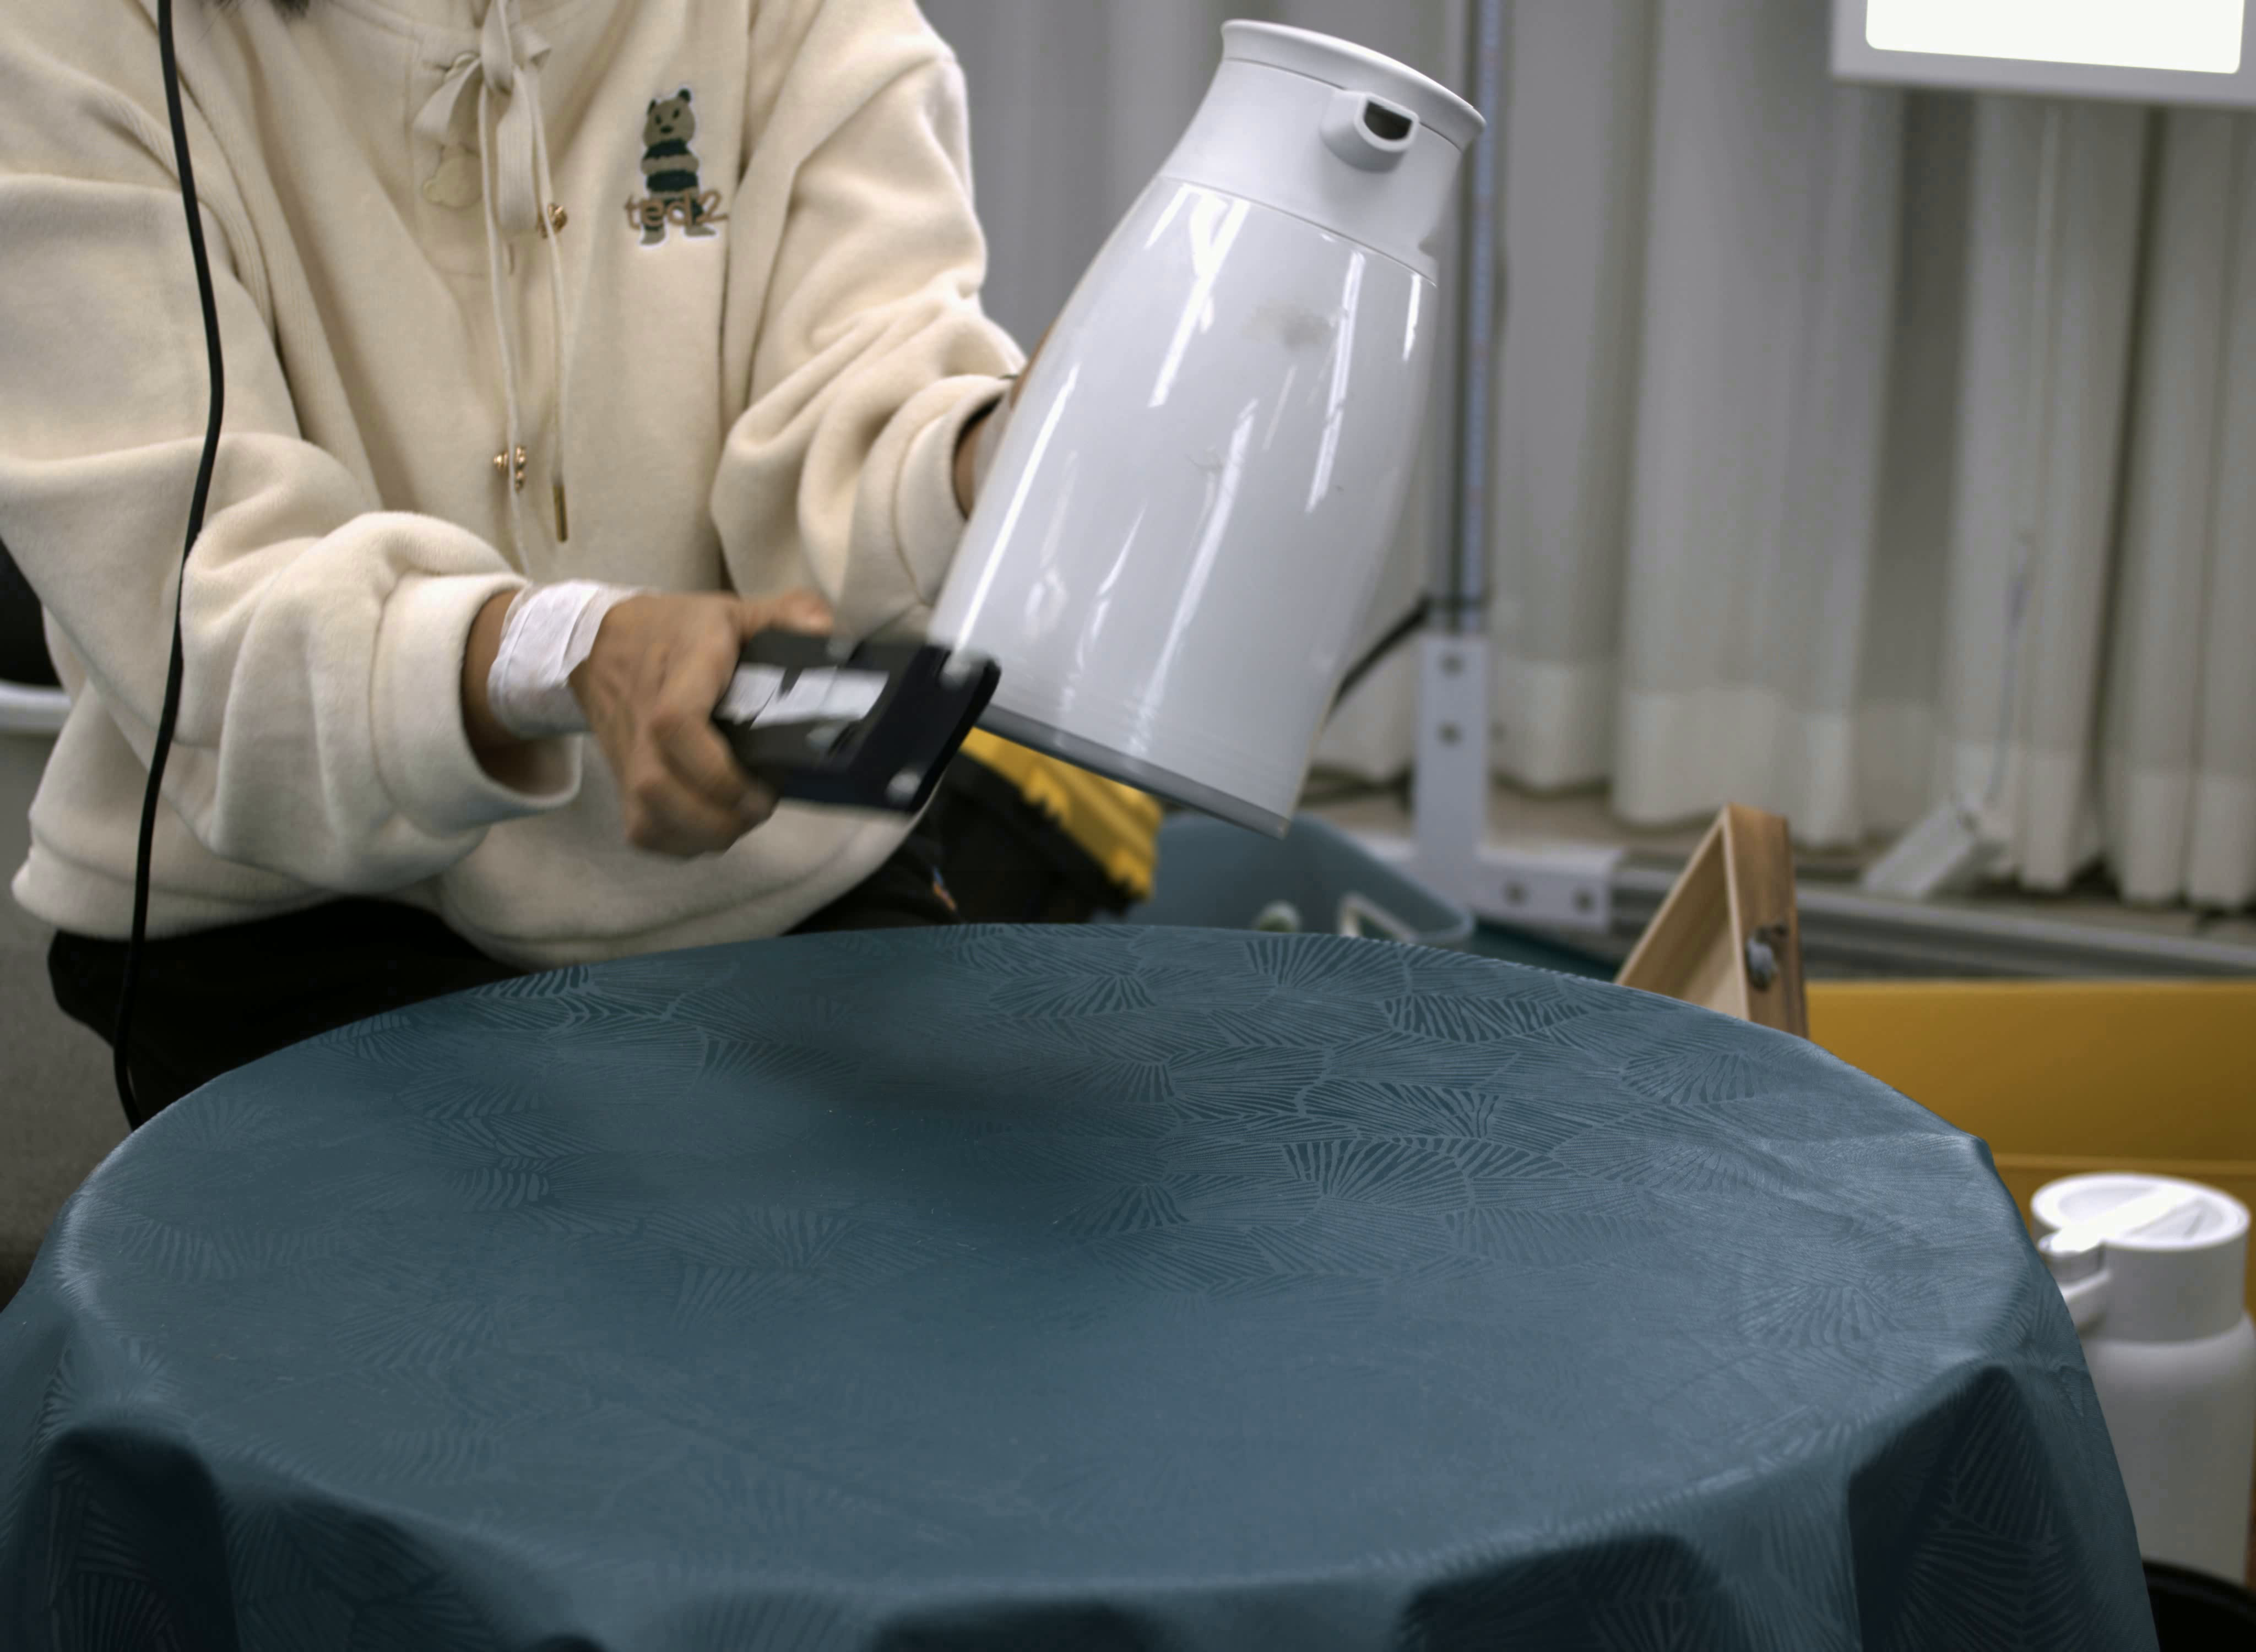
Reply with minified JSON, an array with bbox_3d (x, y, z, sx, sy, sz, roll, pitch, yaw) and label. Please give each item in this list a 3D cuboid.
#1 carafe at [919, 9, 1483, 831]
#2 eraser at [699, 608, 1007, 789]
[{"bbox_3d":[0.024,-0.138,1.716,0.133,0.249,0.166,21,-2,-16],"label":"carafe"},{"bbox_3d":[-0.086,-0.039,1.627,0.031,0.053,0.124,37,-17,-25],"label":"eraser"}]
